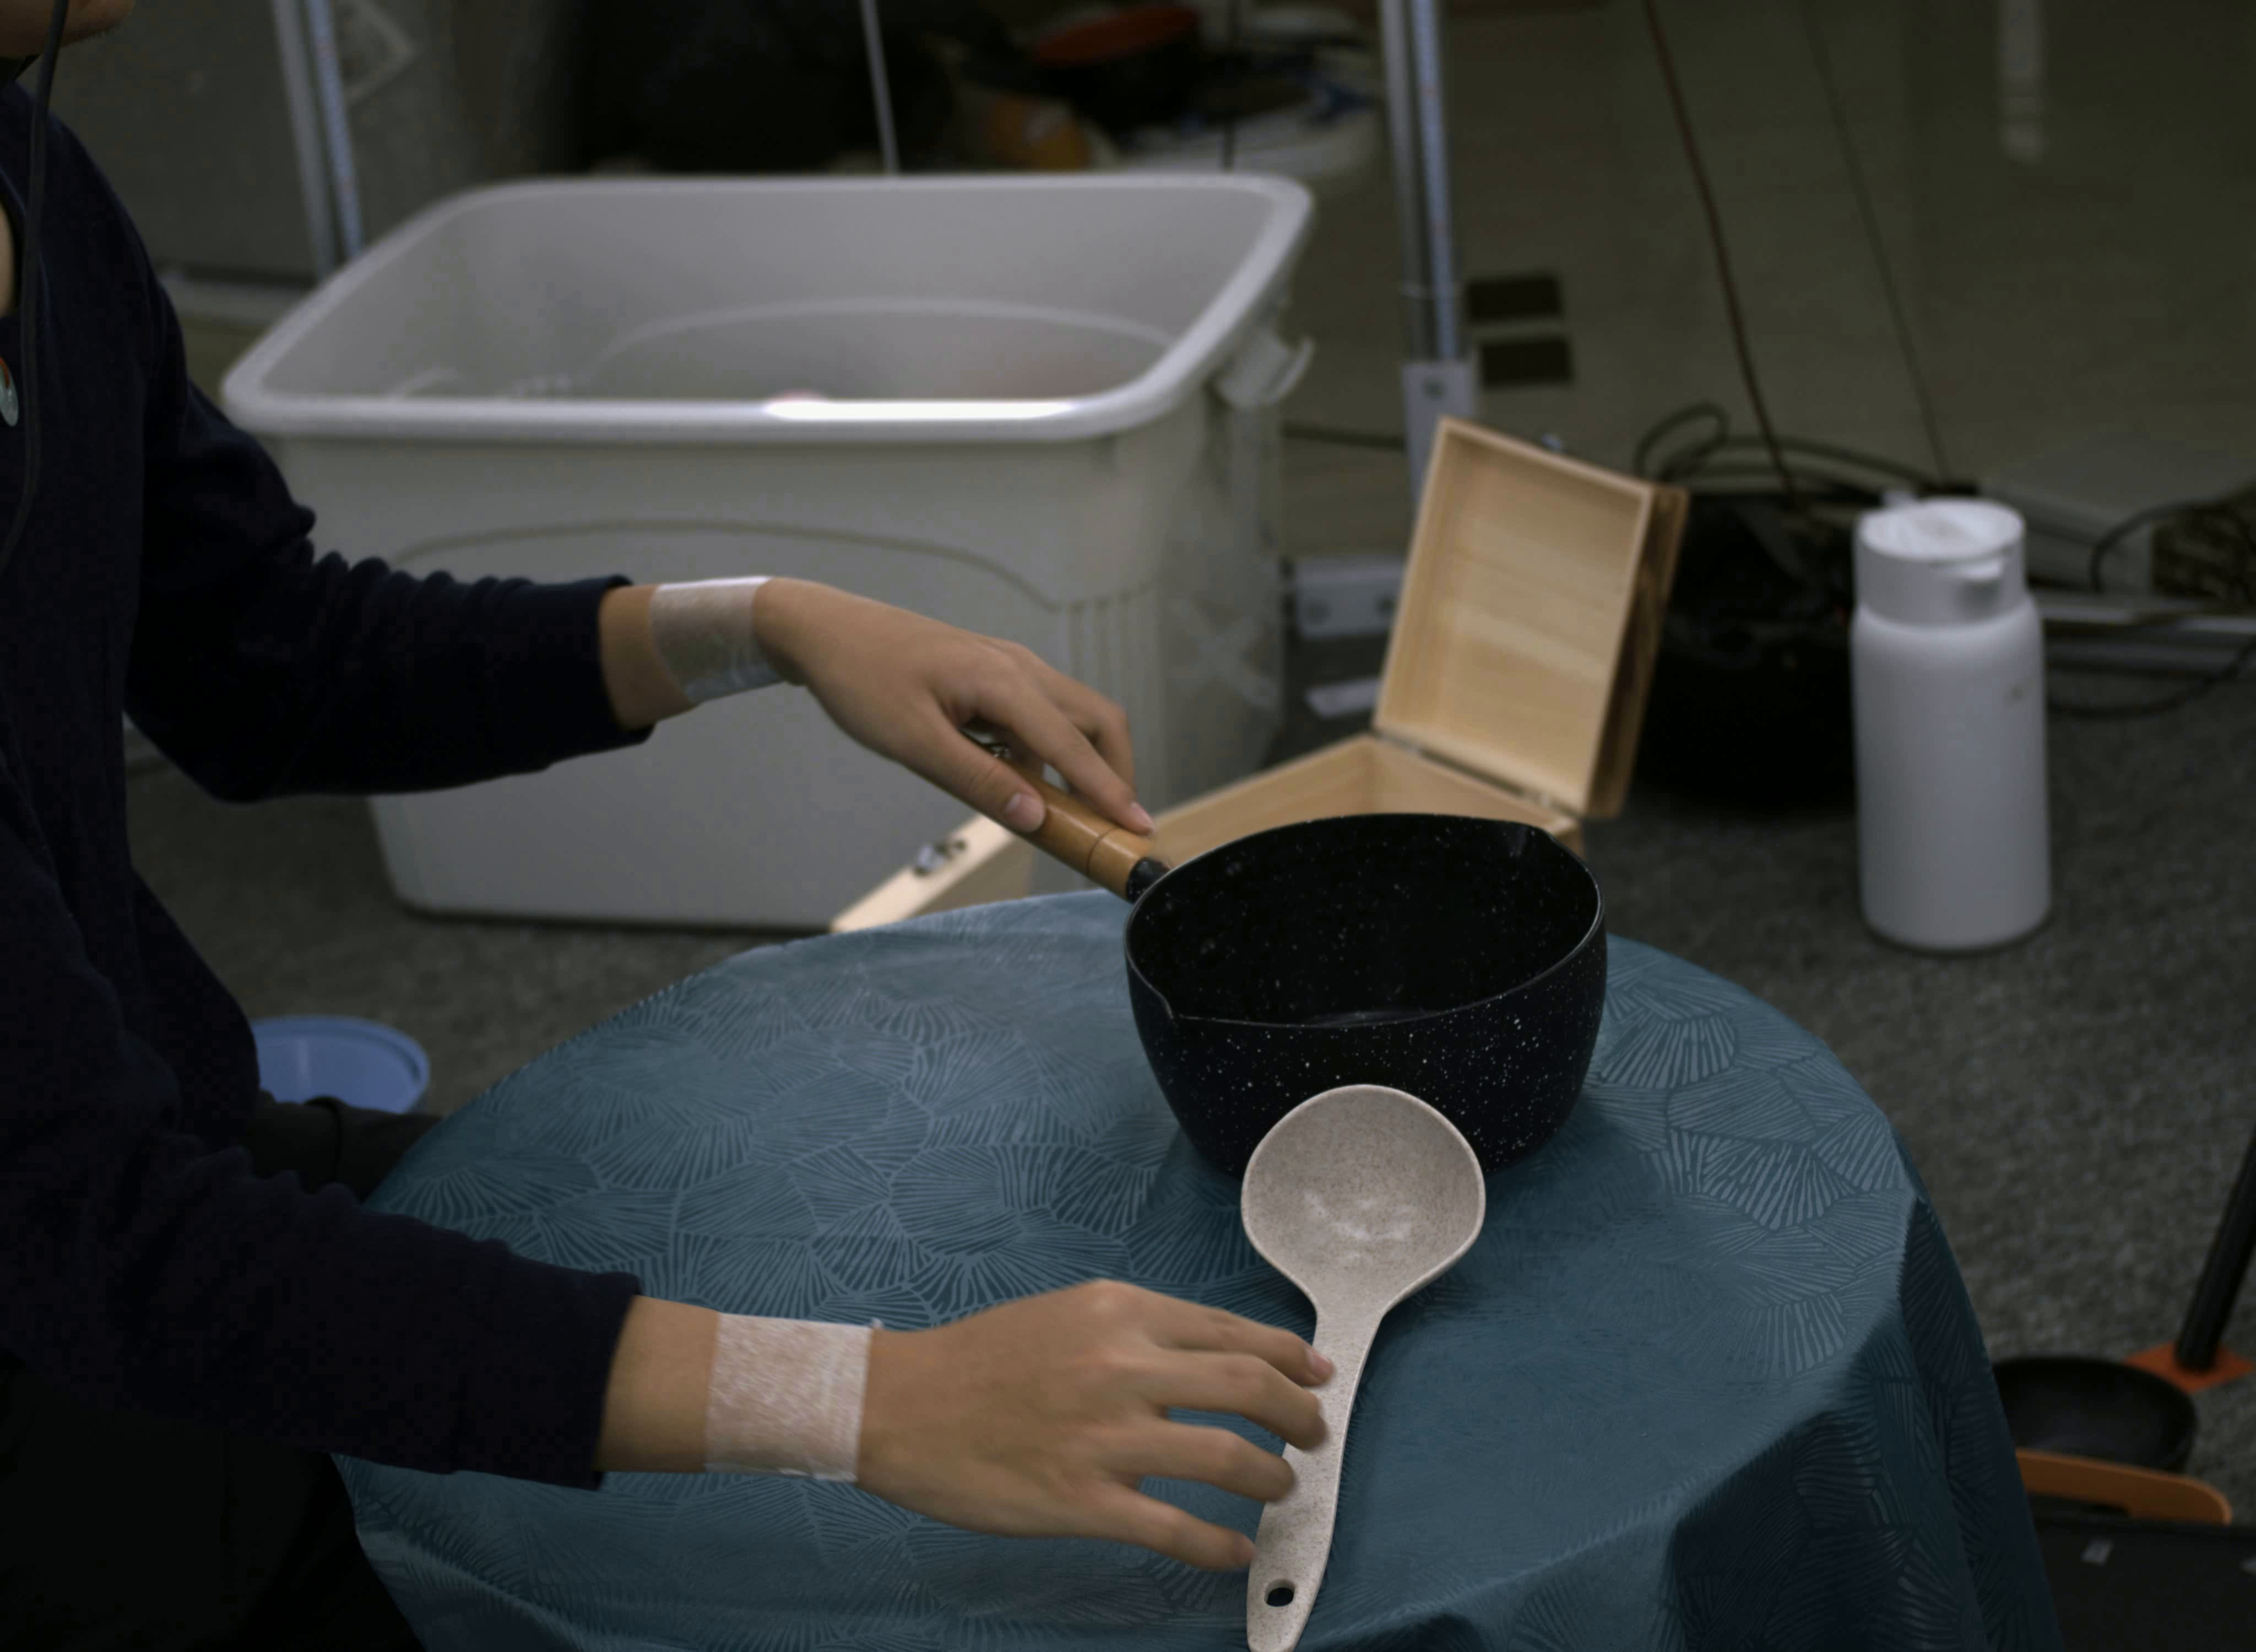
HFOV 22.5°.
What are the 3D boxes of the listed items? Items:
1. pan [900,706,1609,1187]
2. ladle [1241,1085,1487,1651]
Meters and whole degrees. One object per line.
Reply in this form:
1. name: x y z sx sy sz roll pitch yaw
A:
1. pan: 0.035 0.043 2.214 0.340 0.110 0.205 19 36 40
2. ladle: 0.068 0.182 1.957 0.089 0.070 0.271 5 27 8
